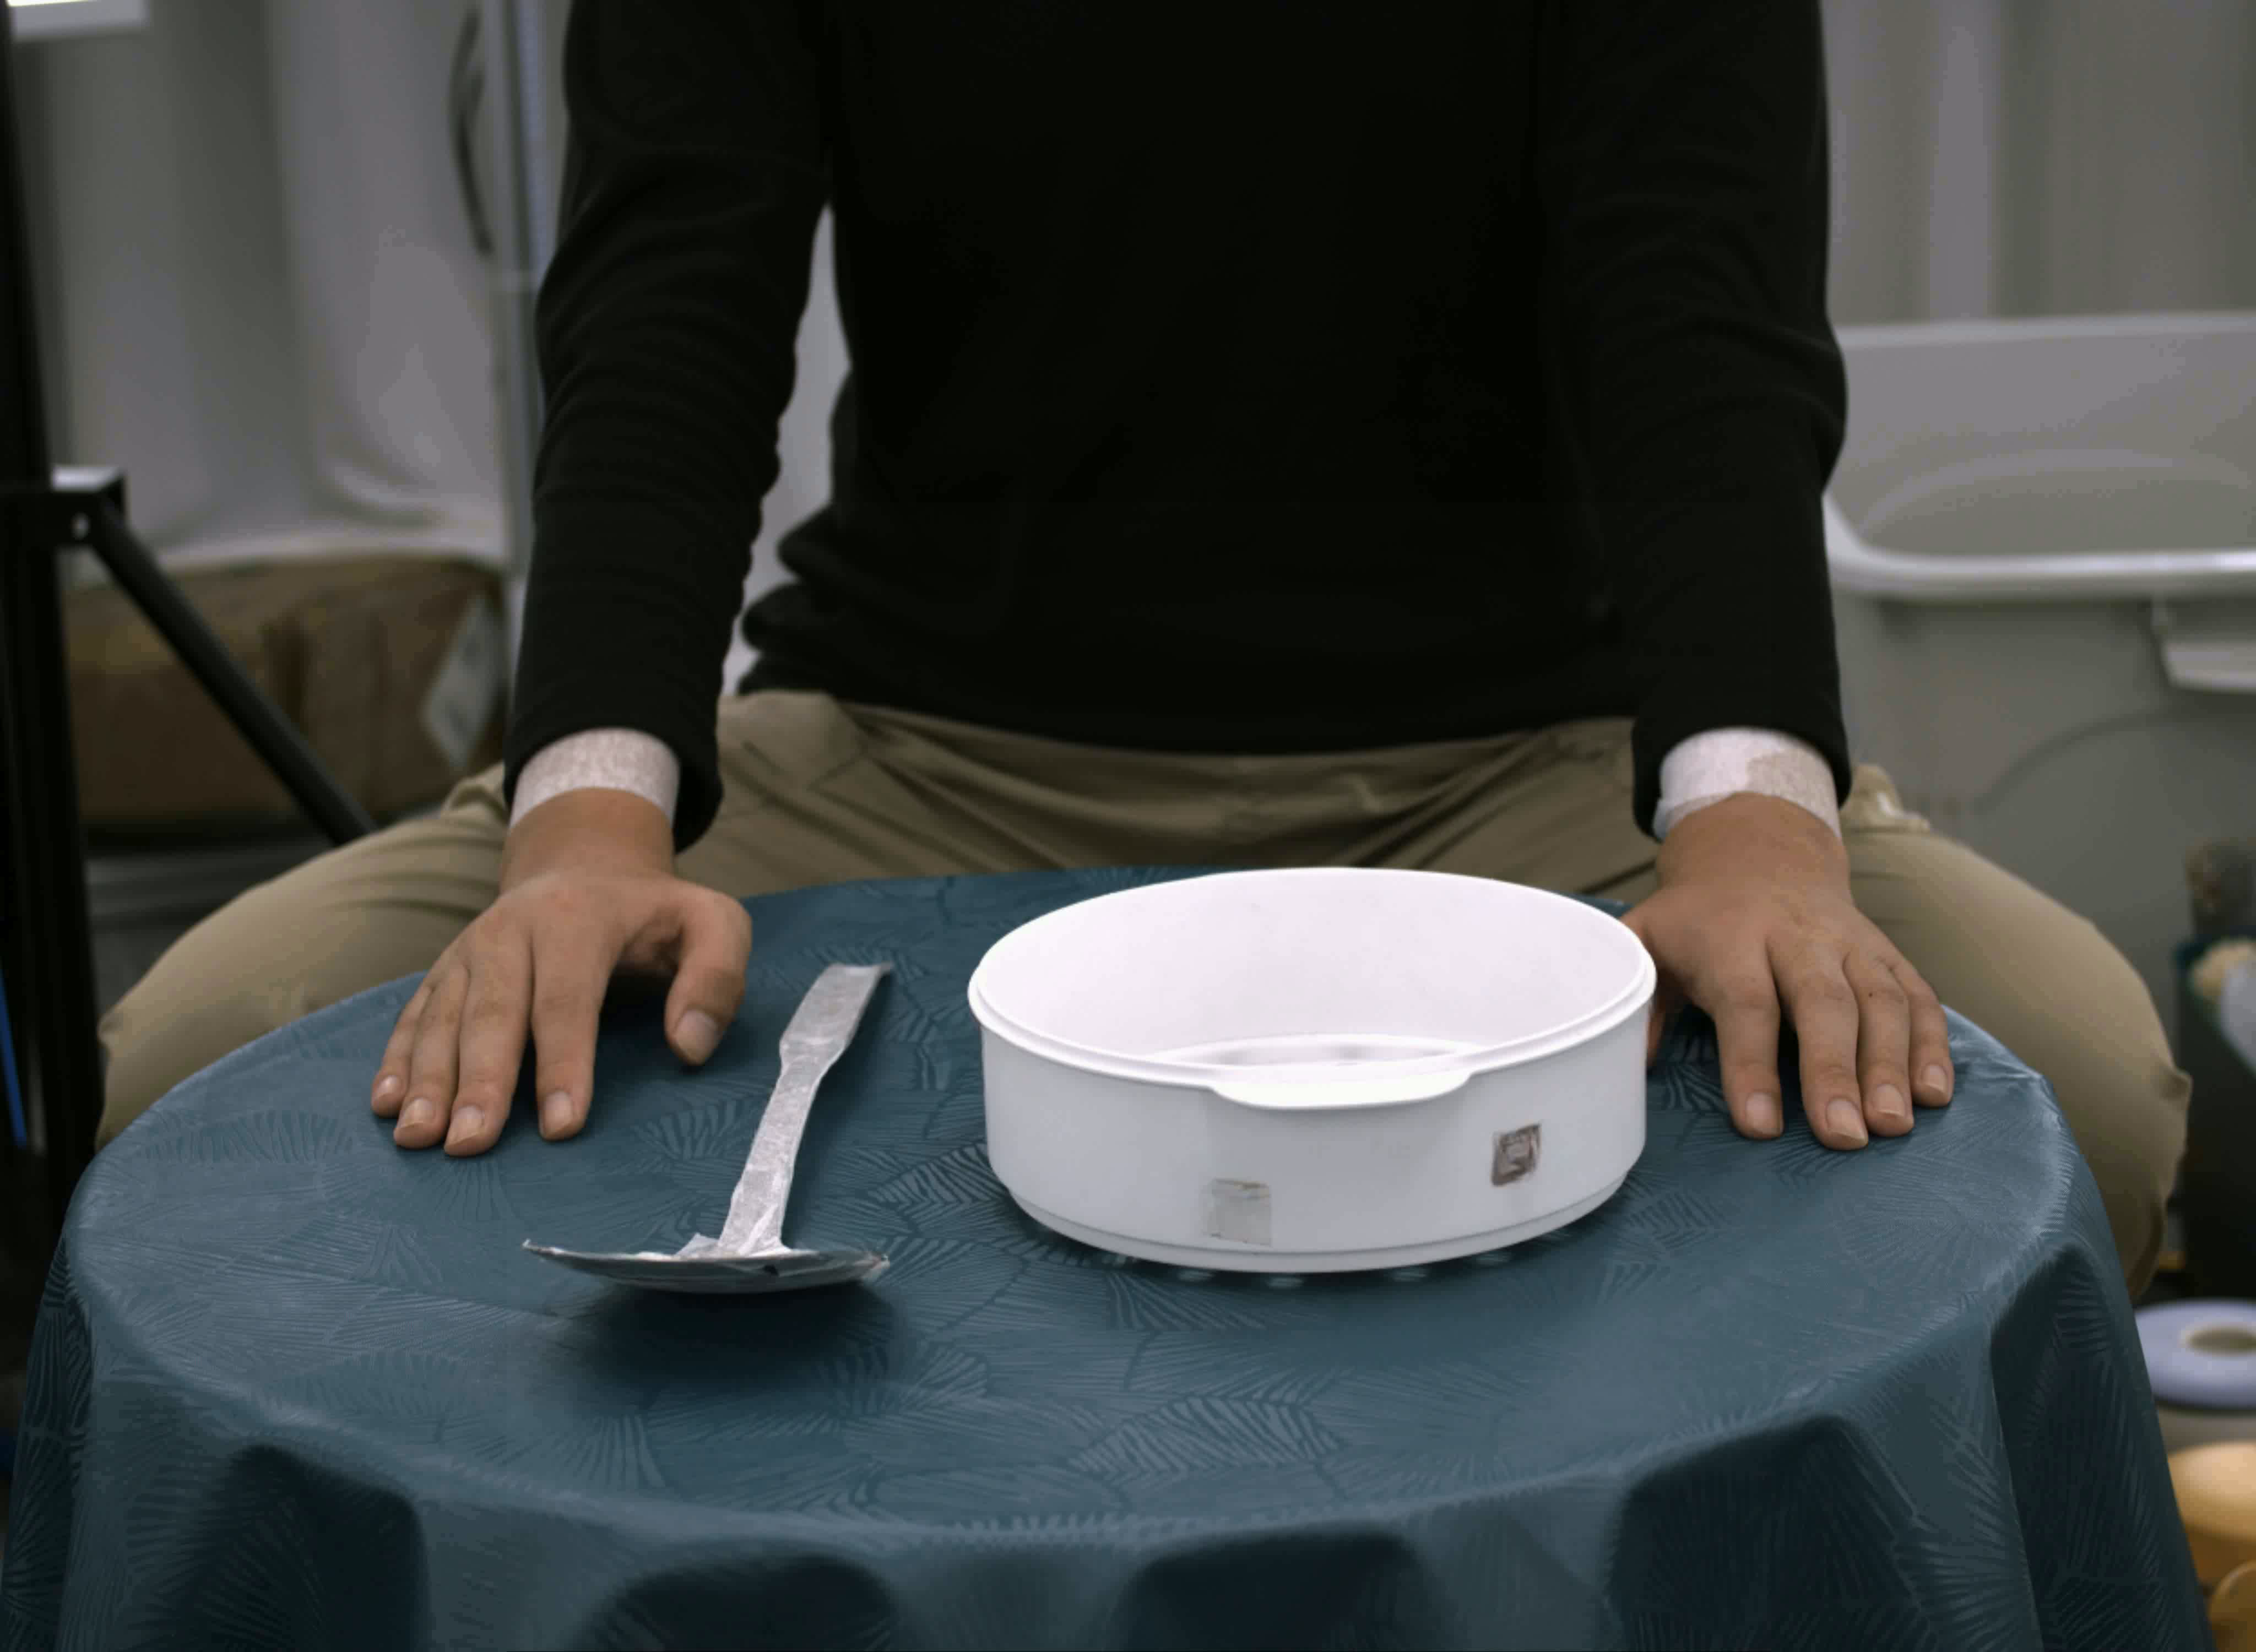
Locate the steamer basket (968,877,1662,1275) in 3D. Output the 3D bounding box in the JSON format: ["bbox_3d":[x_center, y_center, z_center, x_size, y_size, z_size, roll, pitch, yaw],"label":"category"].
[{"bbox_3d":[0.055,0.072,1.547,0.201,0.069,0.232,-2,15,-1],"label":"steamer basket"}]

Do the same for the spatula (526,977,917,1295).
[{"bbox_3d":[-0.099,0.083,1.591,0.099,0.045,0.364,-3,16,6],"label":"spatula"}]
